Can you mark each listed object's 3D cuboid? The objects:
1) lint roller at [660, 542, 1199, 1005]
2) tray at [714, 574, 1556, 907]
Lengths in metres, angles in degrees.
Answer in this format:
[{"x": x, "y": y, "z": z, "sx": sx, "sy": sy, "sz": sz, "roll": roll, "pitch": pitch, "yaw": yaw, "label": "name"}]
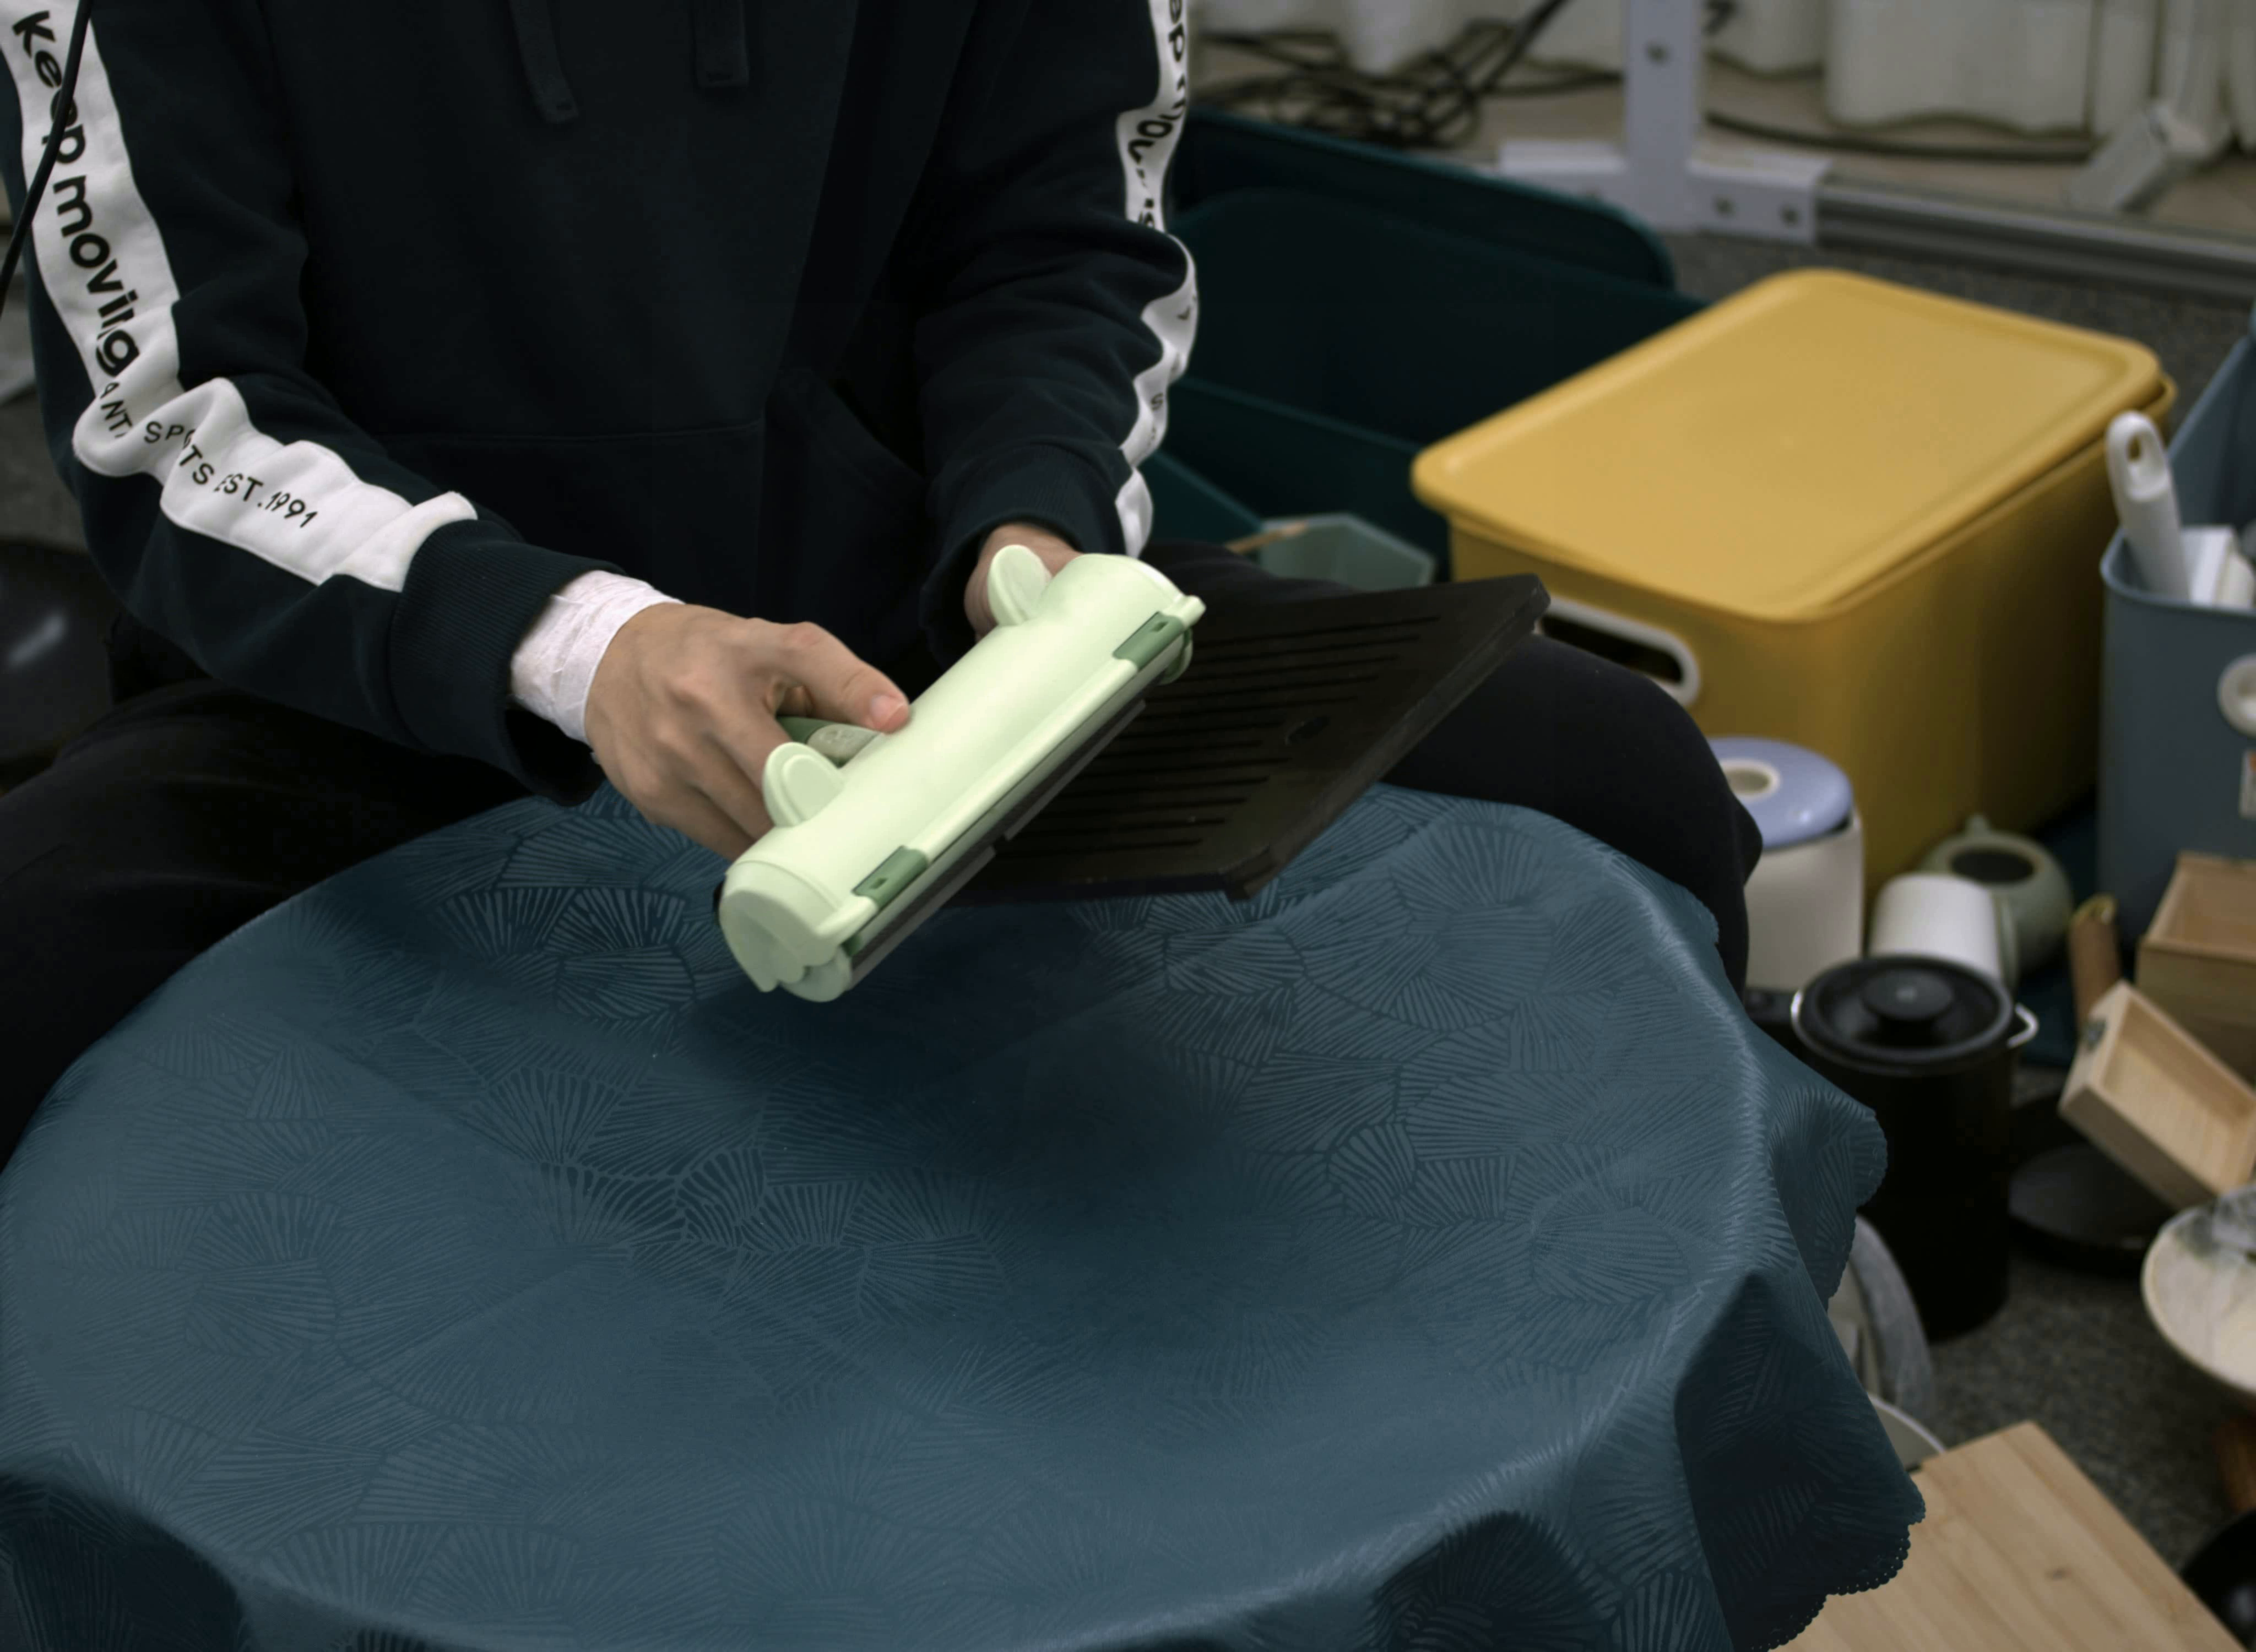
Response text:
[{"x": -0.098, "y": -0.032, "z": 1.859, "sx": 0.182, "sy": 0.081, "sz": 0.202, "roll": 11, "pitch": 42, "yaw": 40, "label": "lint roller"}, {"x": -0.001, "y": -0.021, "z": 1.909, "sx": 0.303, "sy": 0.018, "sz": 0.173, "roll": -5, "pitch": 31, "yaw": 51, "label": "tray"}]
